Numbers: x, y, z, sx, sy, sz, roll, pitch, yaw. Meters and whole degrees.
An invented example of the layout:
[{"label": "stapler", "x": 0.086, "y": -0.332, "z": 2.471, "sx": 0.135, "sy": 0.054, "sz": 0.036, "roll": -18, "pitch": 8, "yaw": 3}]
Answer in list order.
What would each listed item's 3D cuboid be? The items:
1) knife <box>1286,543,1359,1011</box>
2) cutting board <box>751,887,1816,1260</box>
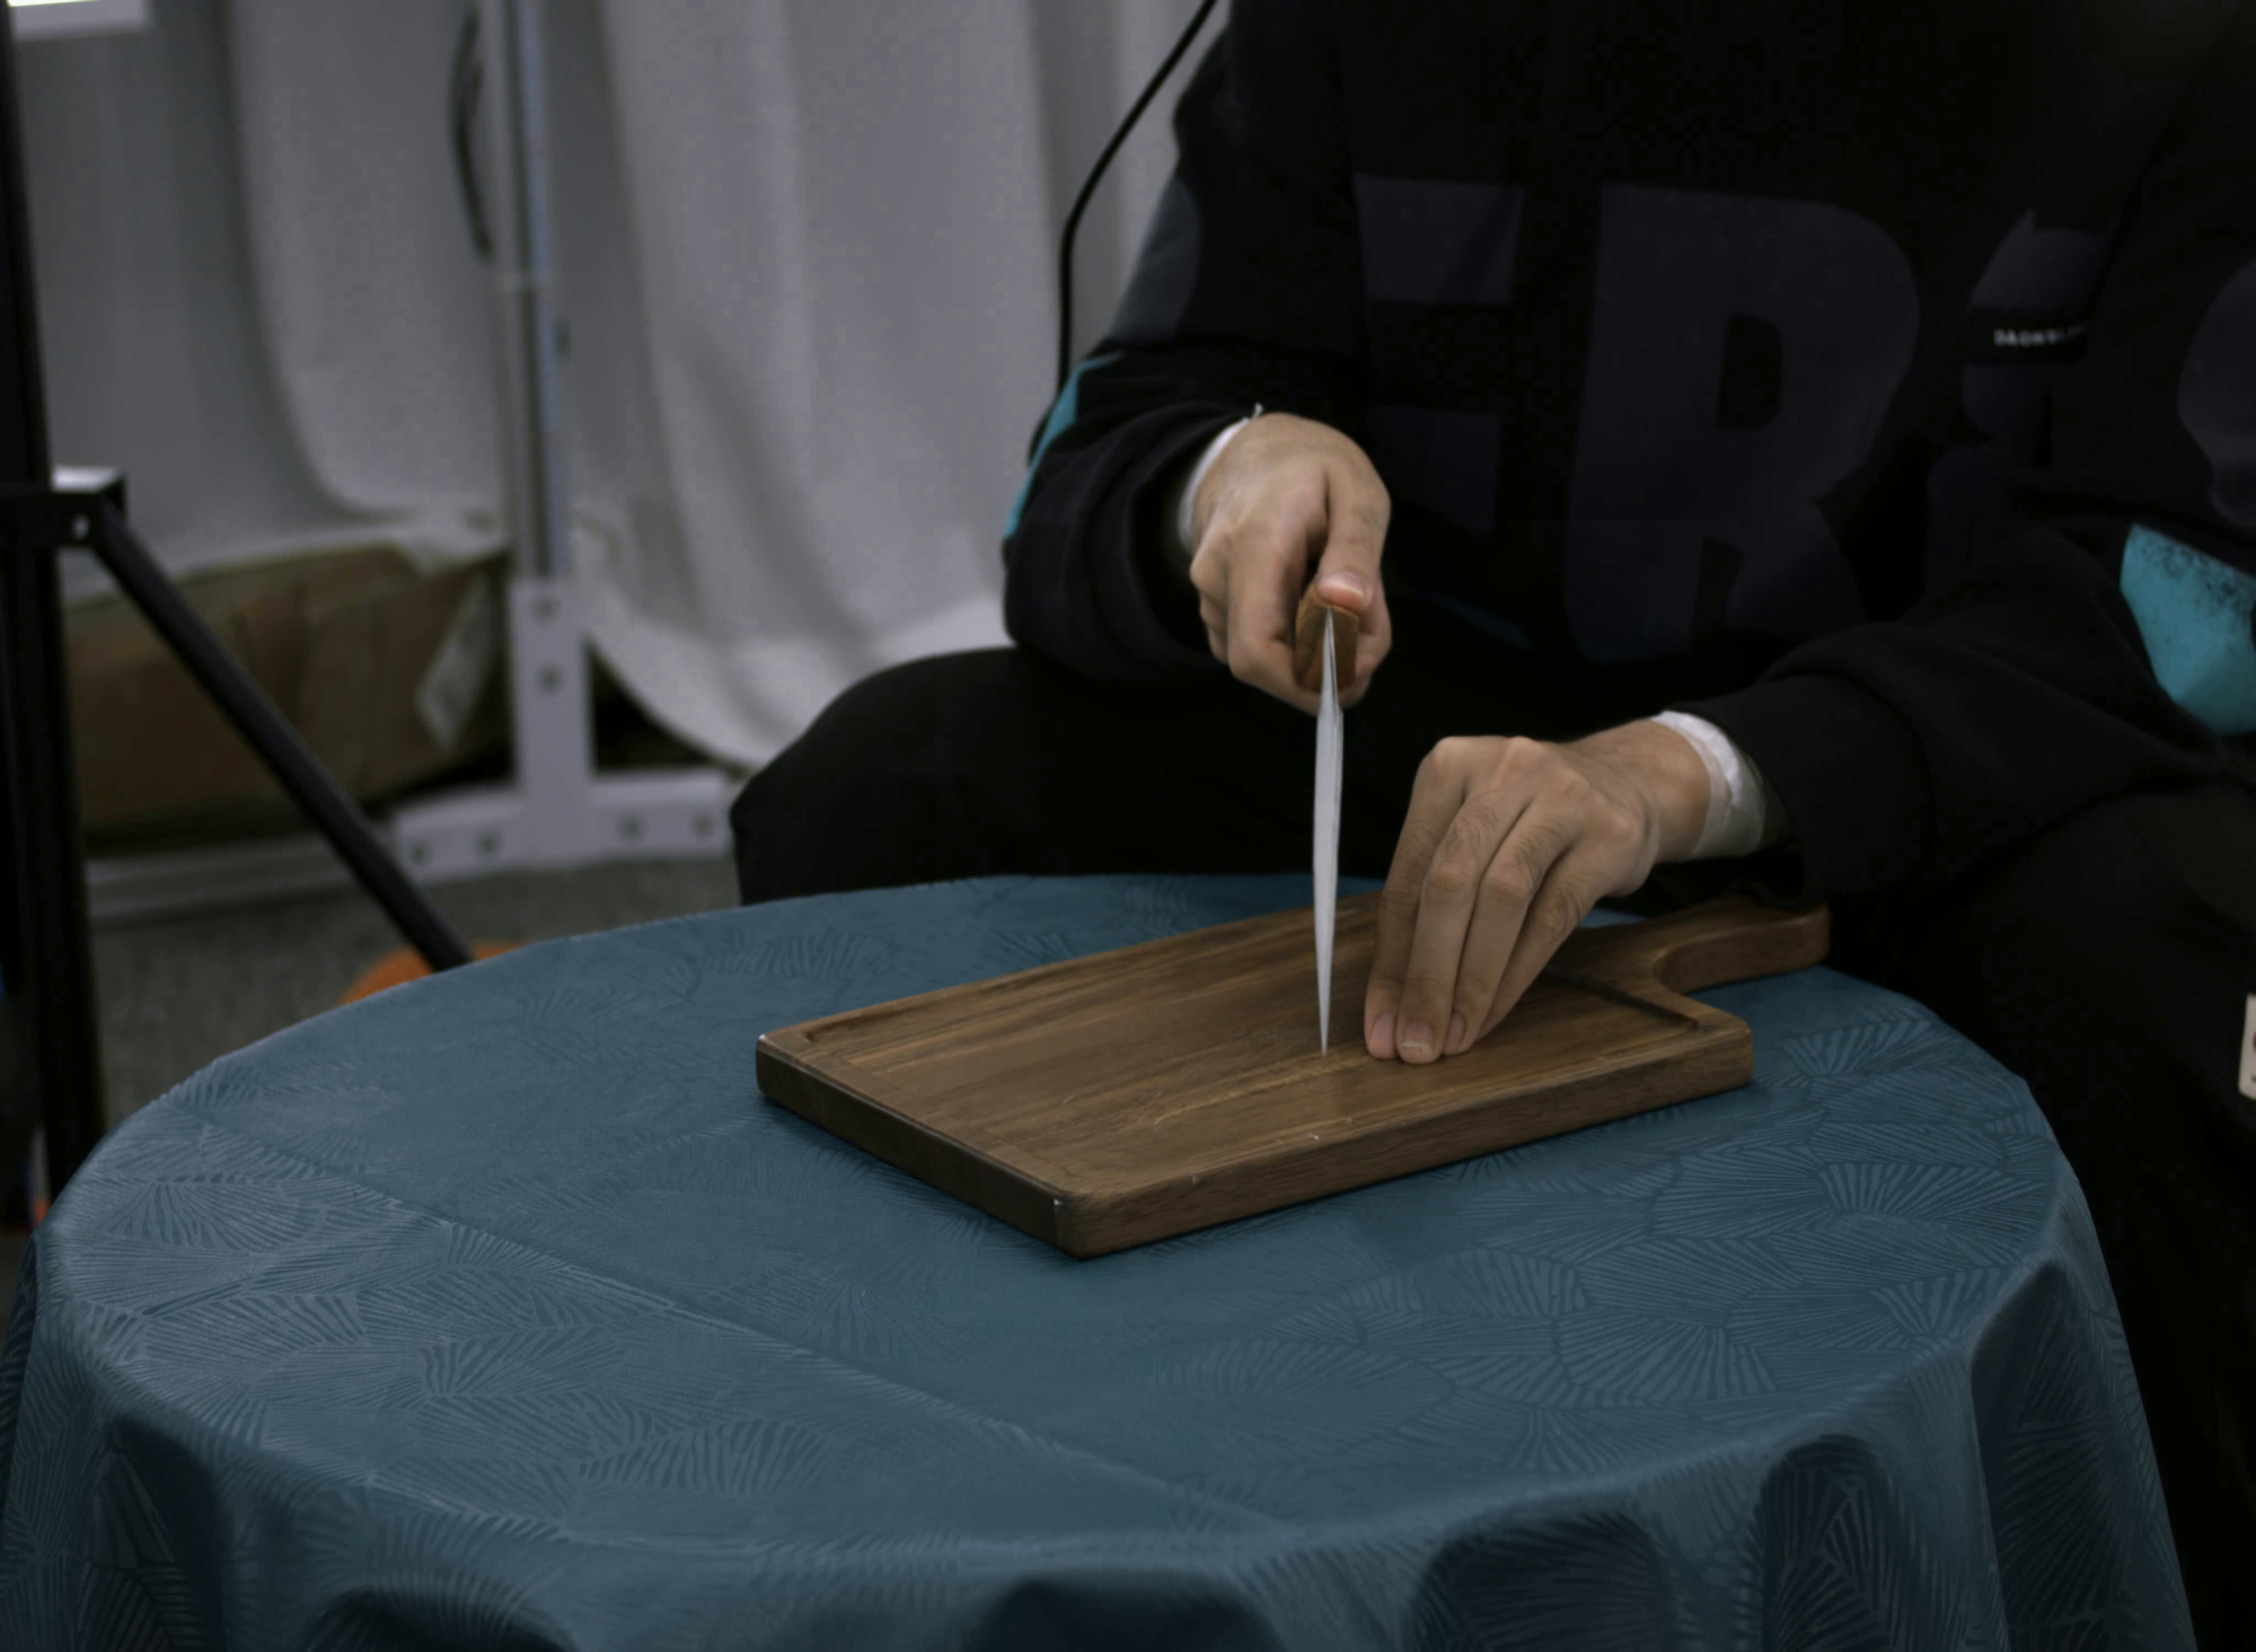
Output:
[{"label": "knife", "x": 0.062, "y": -0.017, "z": 1.674, "sx": 0.021, "sy": 0.093, "sz": 0.307, "roll": 3, "pitch": 17, "yaw": 0}, {"label": "cutting board", "x": 0.078, "y": 0.064, "z": 1.662, "sx": 0.344, "sy": 0.023, "sz": 0.205, "roll": -12, "pitch": 19, "yaw": -30}]
